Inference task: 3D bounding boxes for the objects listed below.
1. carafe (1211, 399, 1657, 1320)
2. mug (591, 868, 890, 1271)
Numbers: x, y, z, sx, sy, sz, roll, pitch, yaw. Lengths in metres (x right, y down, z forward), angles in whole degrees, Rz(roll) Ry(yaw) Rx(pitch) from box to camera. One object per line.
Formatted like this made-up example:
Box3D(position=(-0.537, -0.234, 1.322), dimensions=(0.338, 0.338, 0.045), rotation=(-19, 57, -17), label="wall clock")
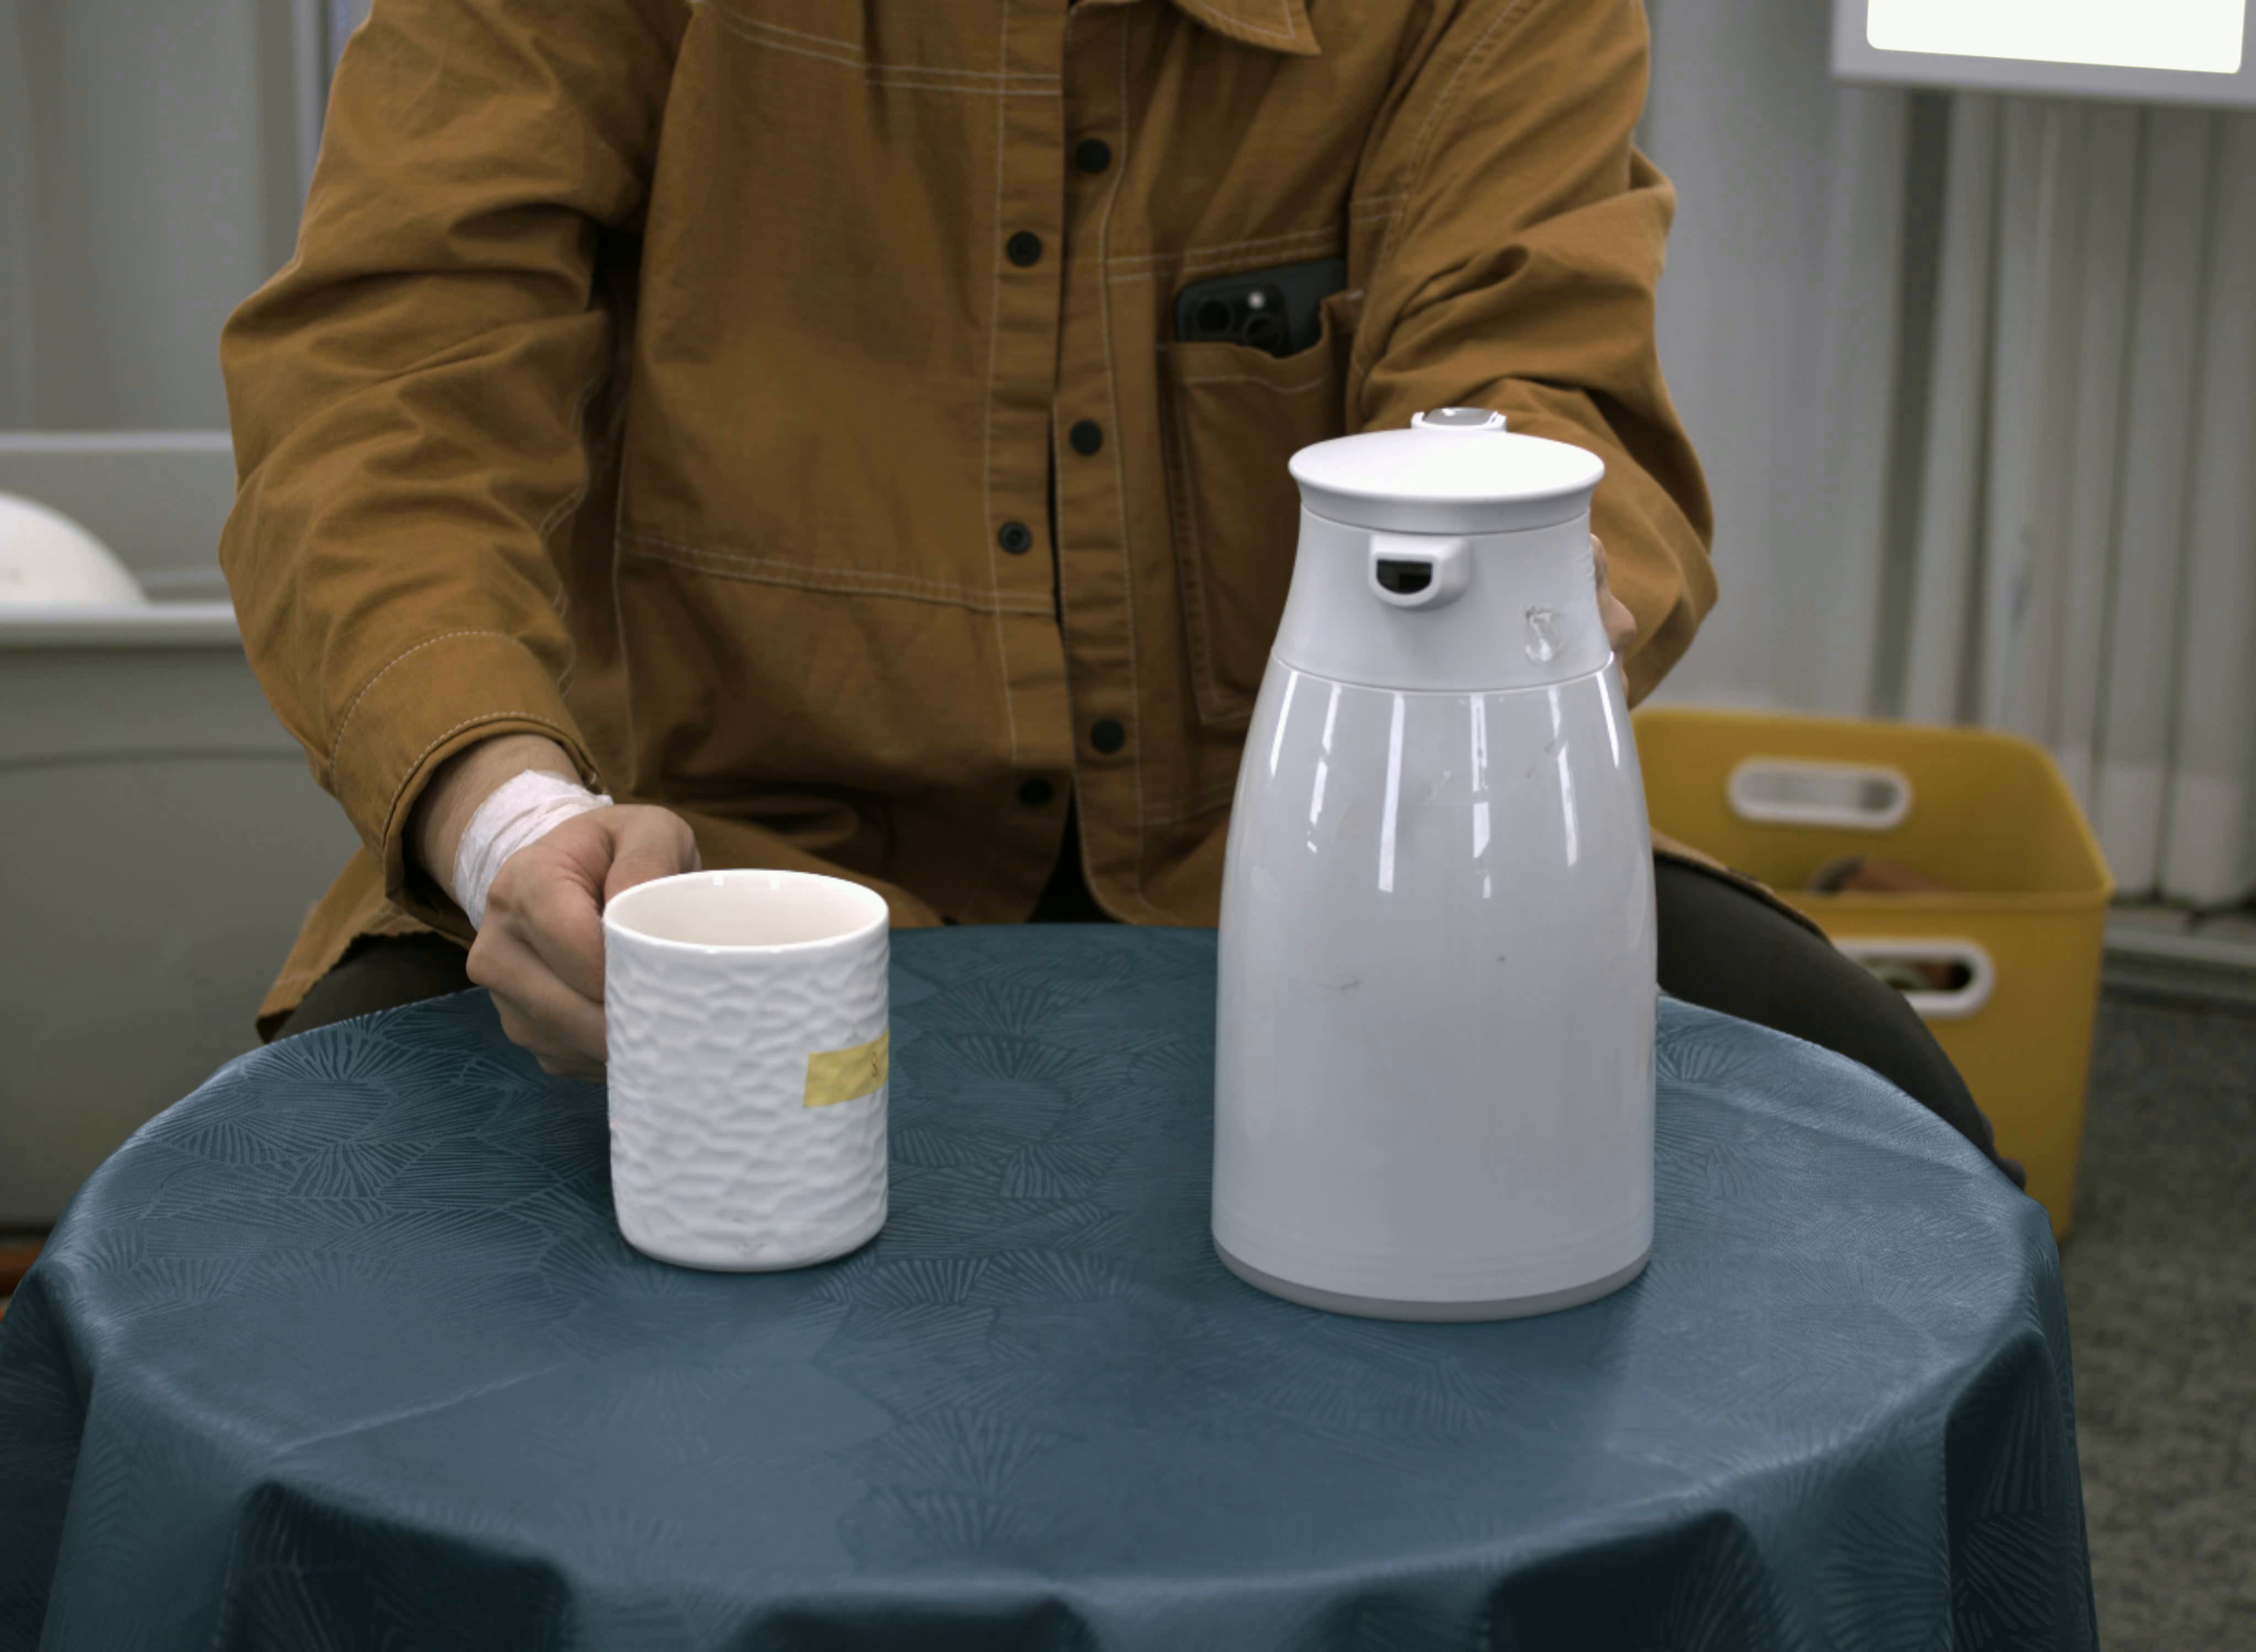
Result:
Box3D(position=(0.094, 0.001, 1.560), dimensions=(0.131, 0.250, 0.167), rotation=(3, 16, 11), label="carafe")
Box3D(position=(-0.123, 0.069, 1.583), dimensions=(0.085, 0.103, 0.116), rotation=(-12, 20, -38), label="mug")
